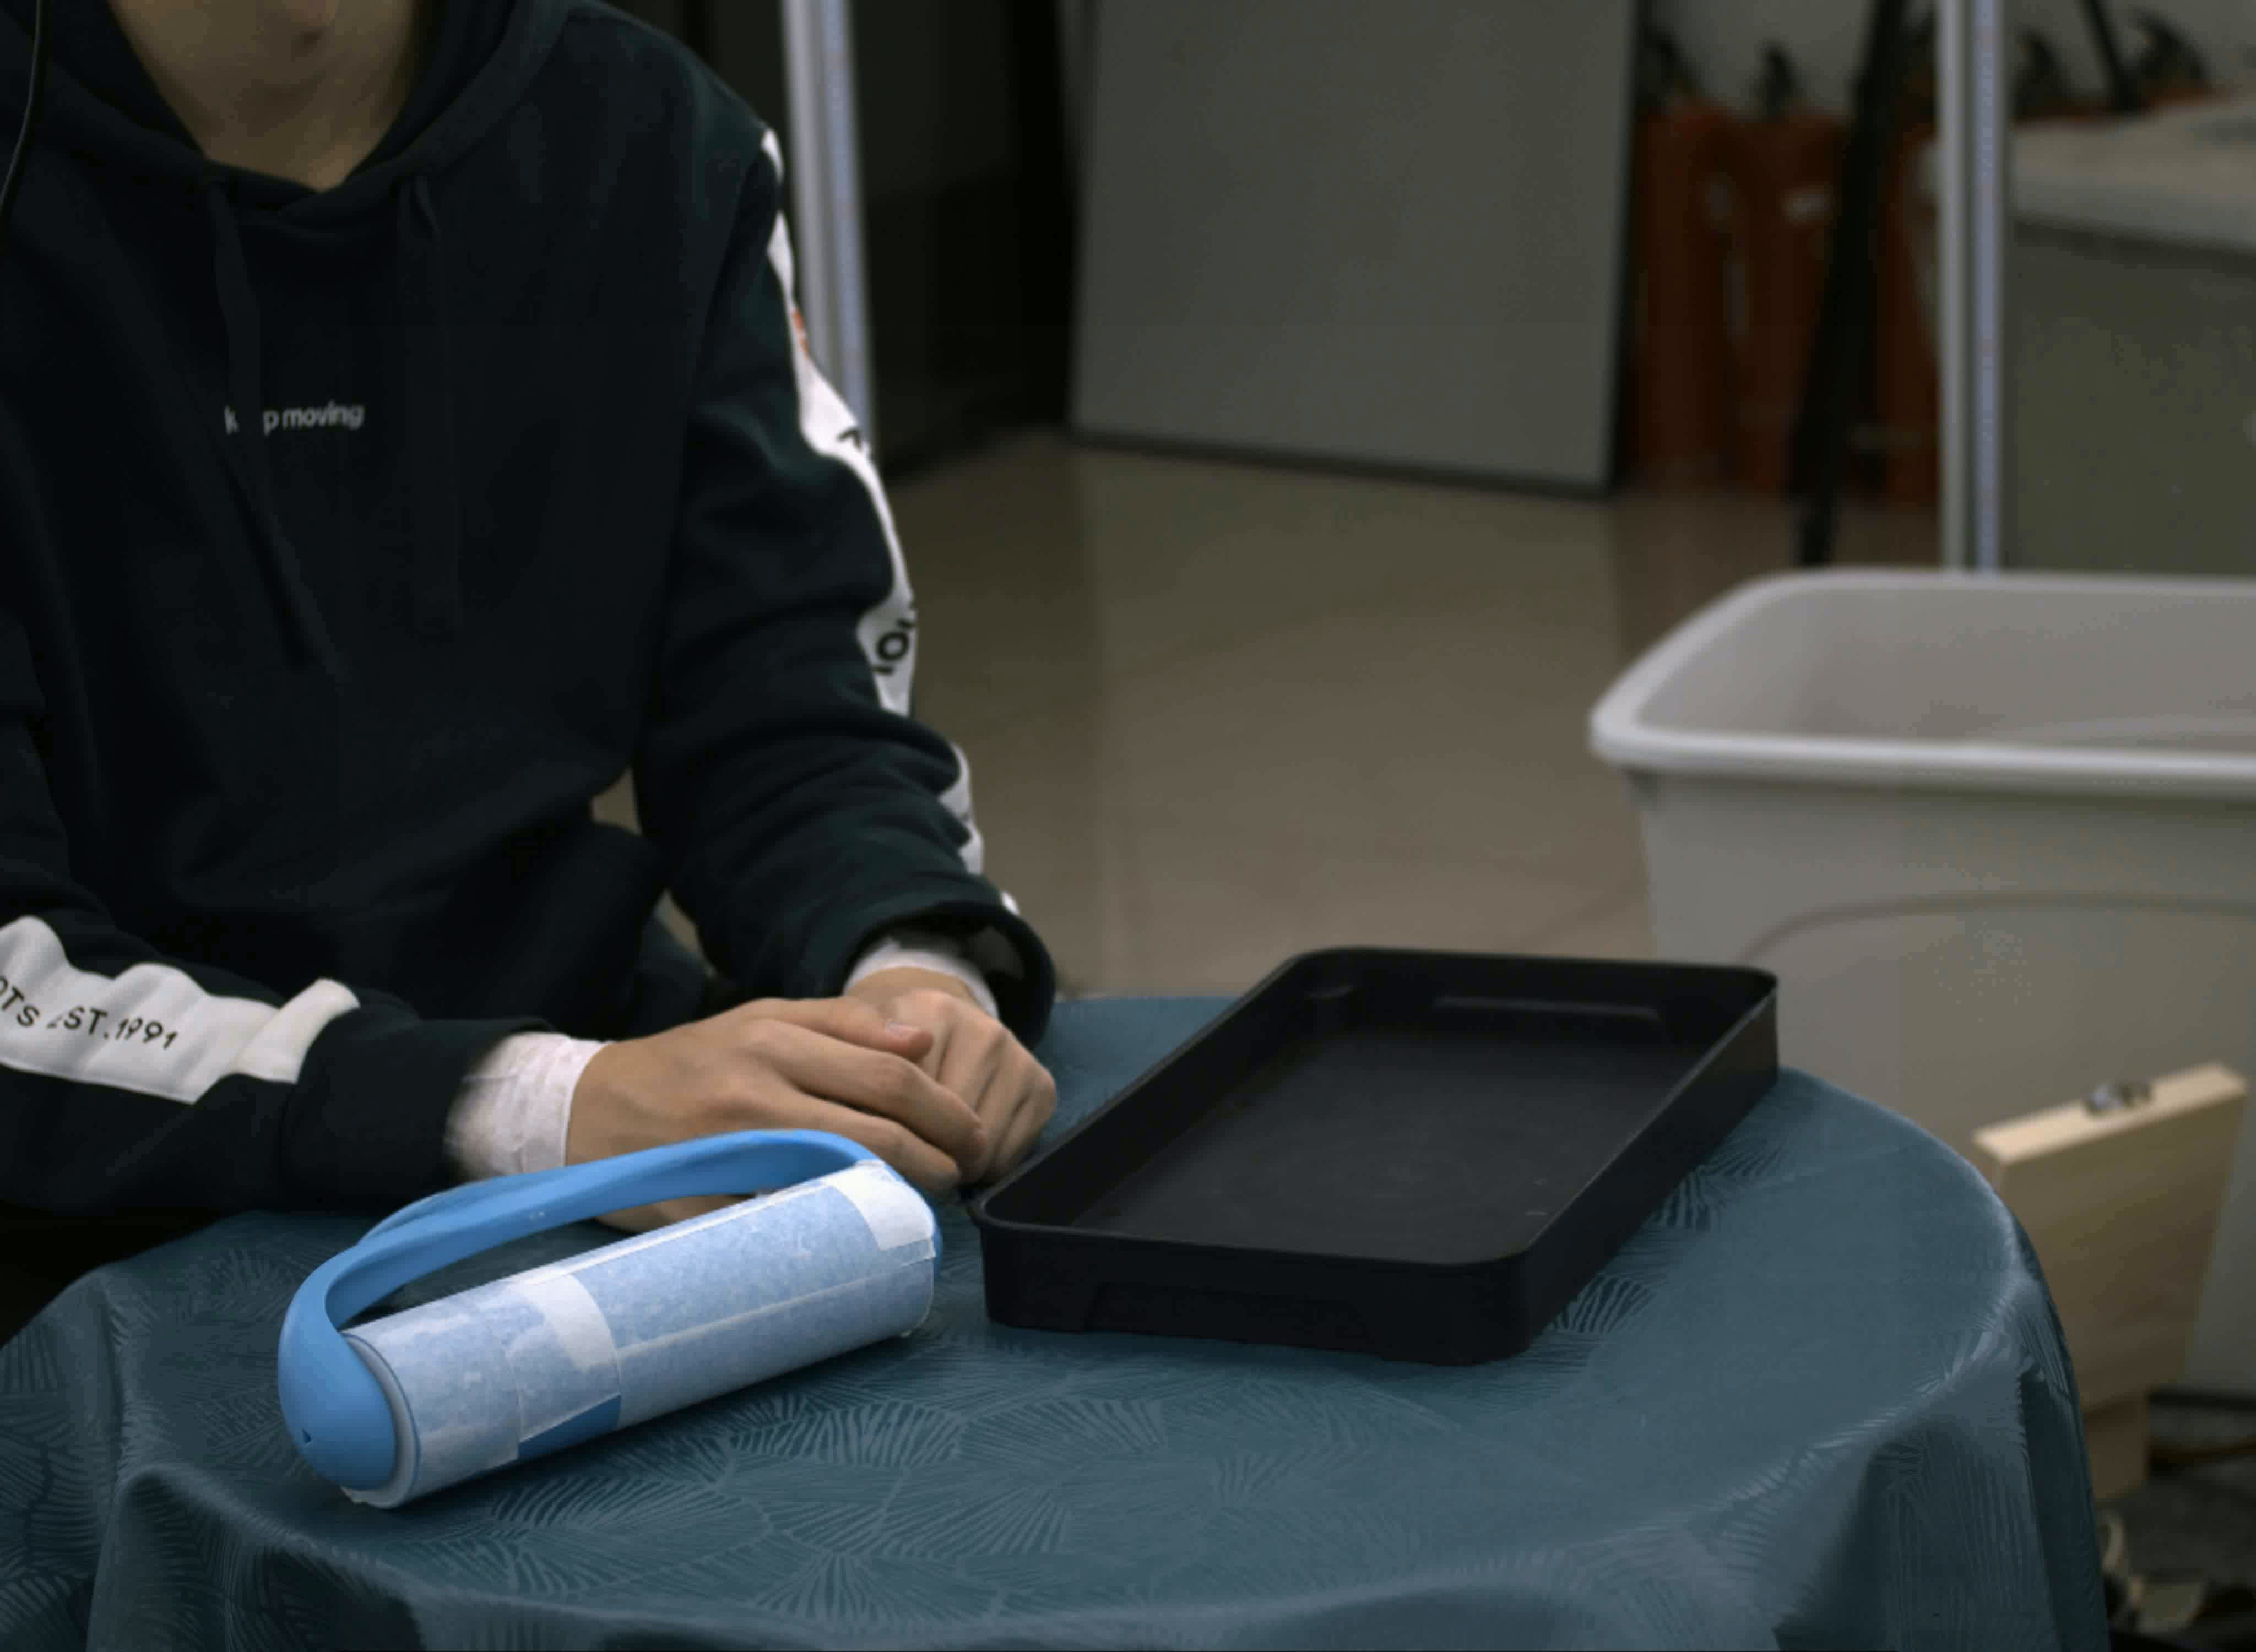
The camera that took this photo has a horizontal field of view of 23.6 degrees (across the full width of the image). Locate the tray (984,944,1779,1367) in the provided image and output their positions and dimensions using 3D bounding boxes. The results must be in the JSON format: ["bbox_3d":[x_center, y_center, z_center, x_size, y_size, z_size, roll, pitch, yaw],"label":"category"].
[{"bbox_3d":[0.091,0.101,1.754,0.184,0.037,0.314,1,16,22],"label":"tray"}]

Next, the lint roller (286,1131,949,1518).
[{"bbox_3d":[-0.185,0.139,1.631,0.224,0.068,0.182,-19,21,-40],"label":"lint roller"}]
